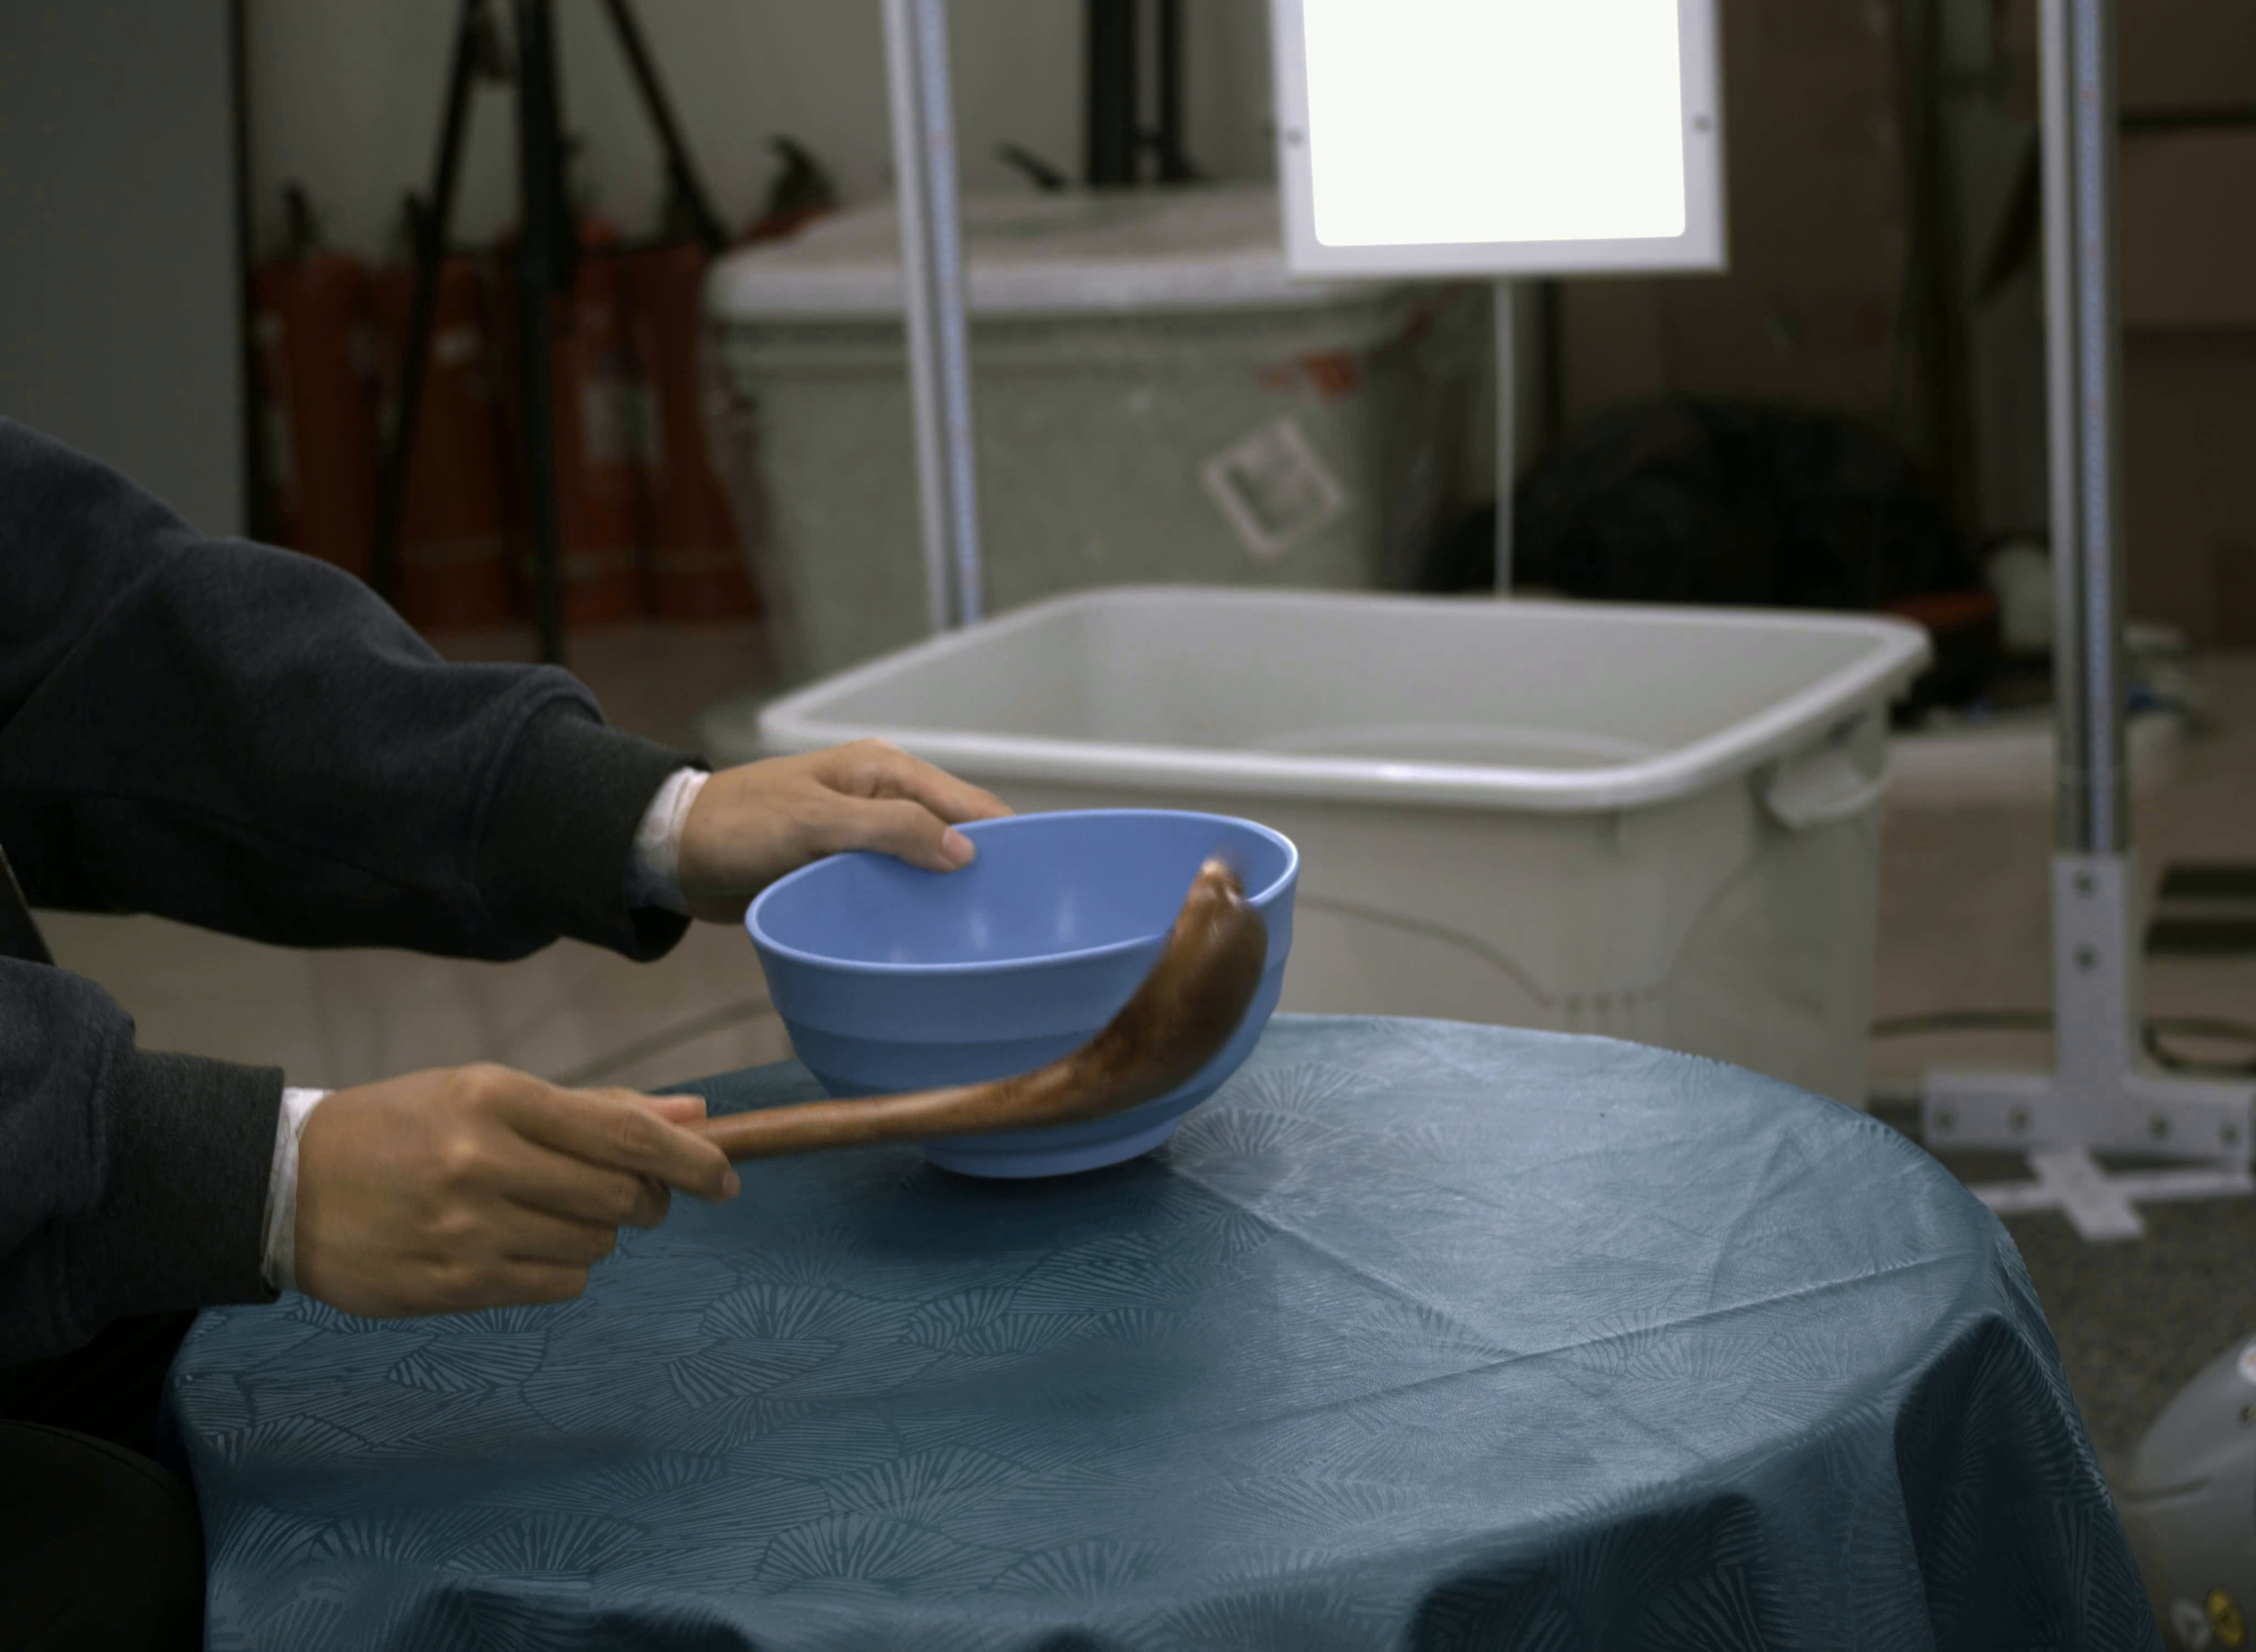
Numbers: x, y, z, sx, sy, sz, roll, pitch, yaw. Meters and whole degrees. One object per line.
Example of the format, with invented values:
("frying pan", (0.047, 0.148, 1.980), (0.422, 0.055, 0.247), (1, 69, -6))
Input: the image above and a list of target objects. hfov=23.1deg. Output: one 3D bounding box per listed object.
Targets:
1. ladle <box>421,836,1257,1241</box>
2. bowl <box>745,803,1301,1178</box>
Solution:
("ladle", (-0.090, 0.064, 1.715), (0.273, 0.077, 0.082), (-11, -22, -2))
("bowl", (-0.032, 0.064, 1.937), (0.196, 0.096, 0.196), (-7, 15, 1))
